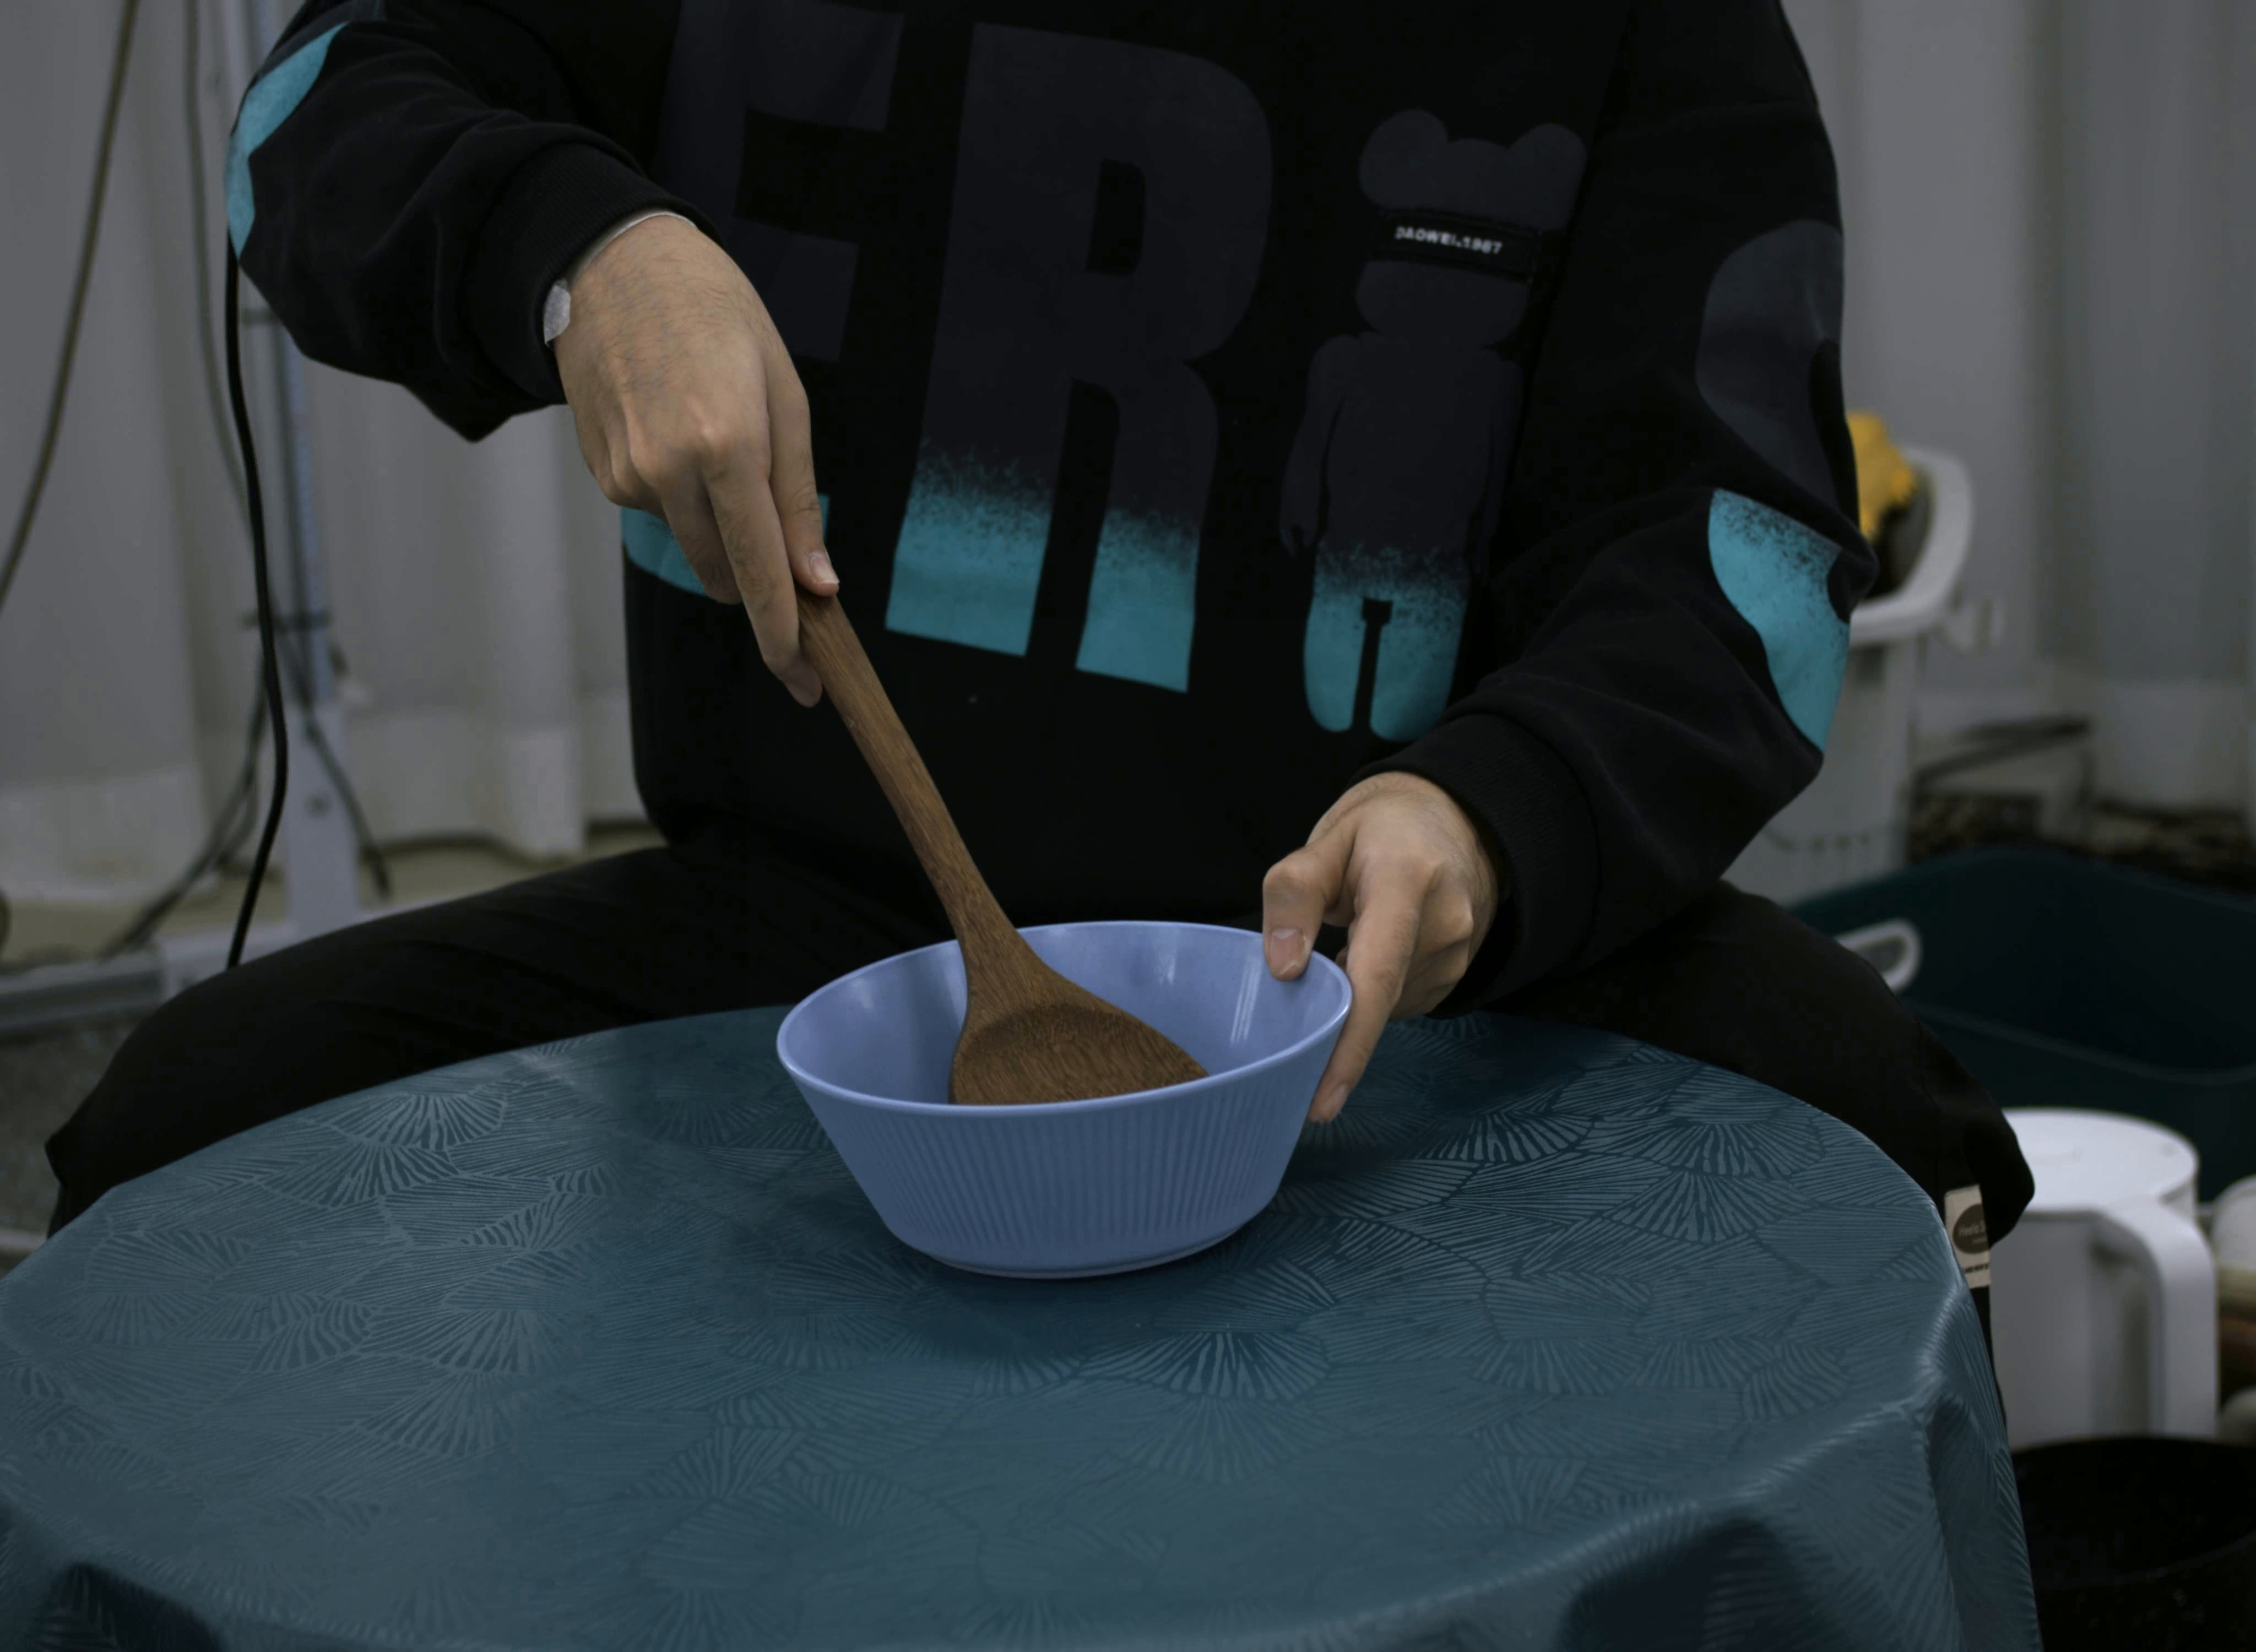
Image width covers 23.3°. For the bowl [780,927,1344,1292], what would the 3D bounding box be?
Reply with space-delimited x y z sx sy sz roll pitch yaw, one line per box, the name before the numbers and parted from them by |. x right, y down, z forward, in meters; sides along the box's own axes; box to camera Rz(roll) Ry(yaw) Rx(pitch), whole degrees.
bowl | -0.016 0.091 1.676 0.175 0.070 0.177 -8 17 2

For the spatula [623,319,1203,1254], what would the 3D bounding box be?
spatula | -0.075 -0.022 1.735 0.096 0.015 0.391 -10 56 -33
